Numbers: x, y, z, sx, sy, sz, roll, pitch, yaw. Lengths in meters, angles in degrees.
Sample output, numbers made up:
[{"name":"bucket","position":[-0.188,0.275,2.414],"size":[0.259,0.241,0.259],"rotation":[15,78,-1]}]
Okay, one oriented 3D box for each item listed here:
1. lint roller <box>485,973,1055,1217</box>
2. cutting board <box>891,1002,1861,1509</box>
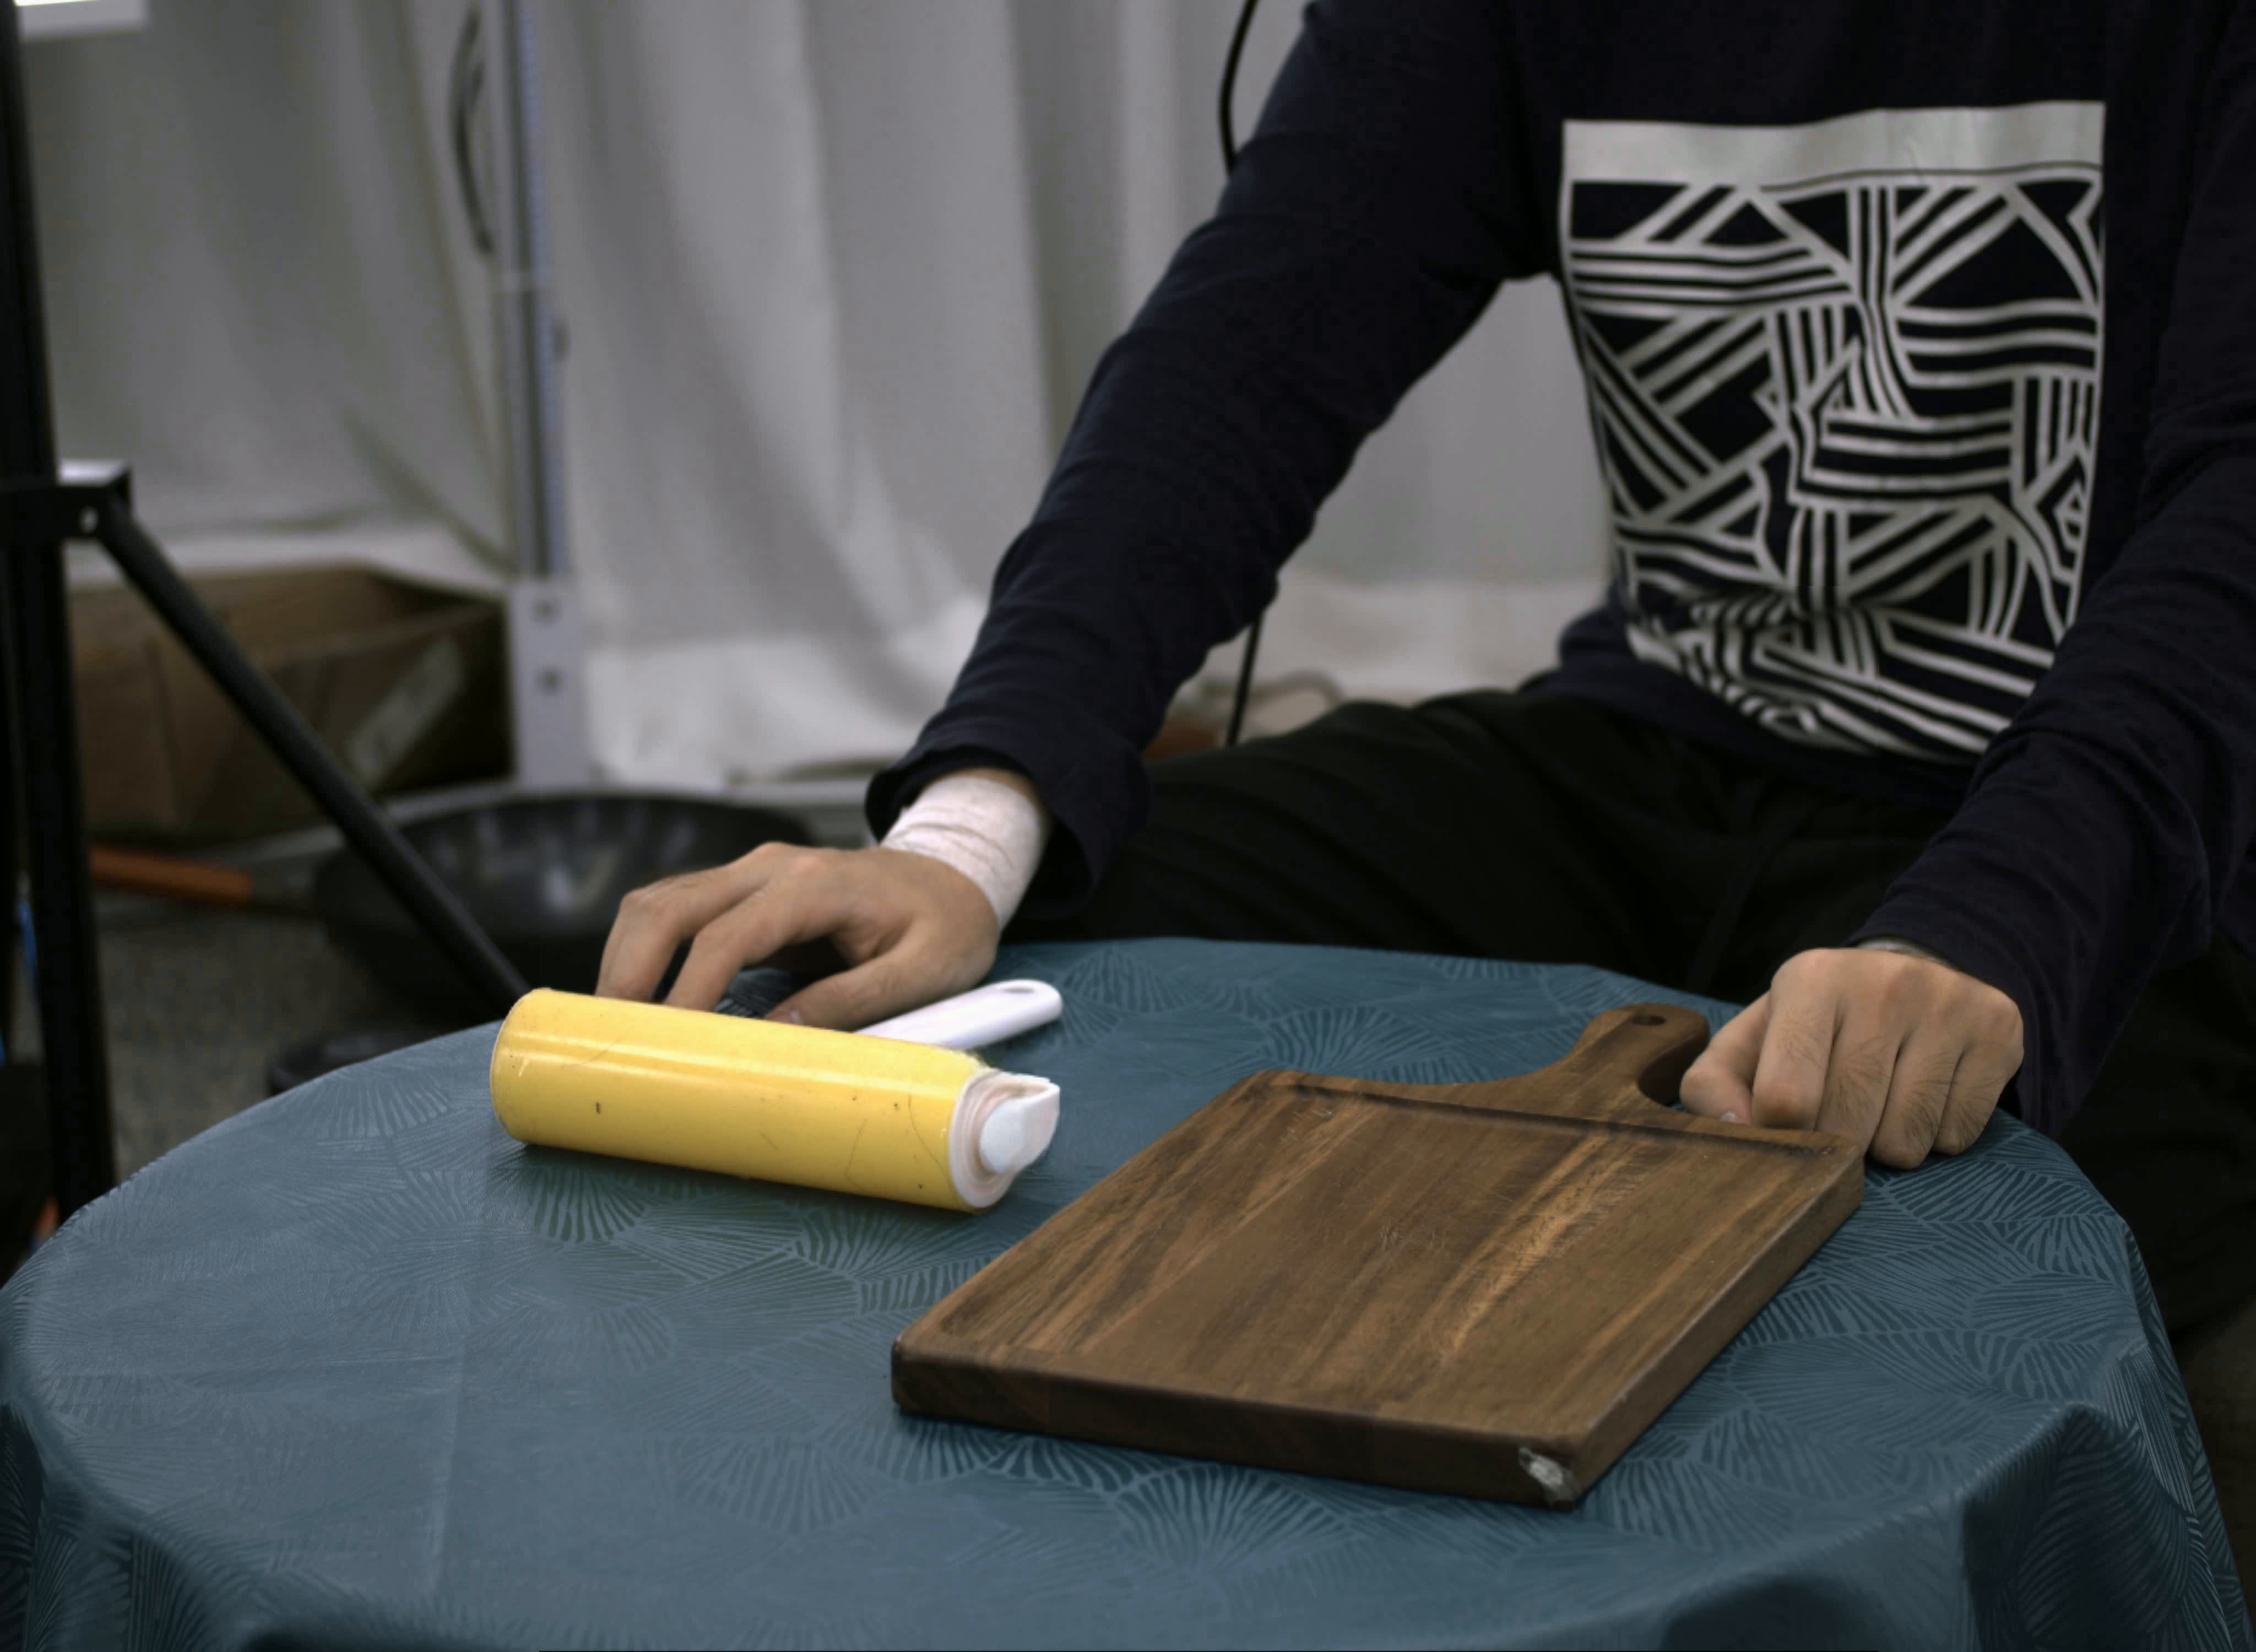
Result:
[{"name":"lint roller","position":[-0.080,0.062,1.646],"size":[0.177,0.051,0.189],"rotation":[7,21,27]},{"name":"cutting board","position":[0.095,0.110,1.503],"size":[0.204,0.023,0.347],"rotation":[5,17,25]}]
